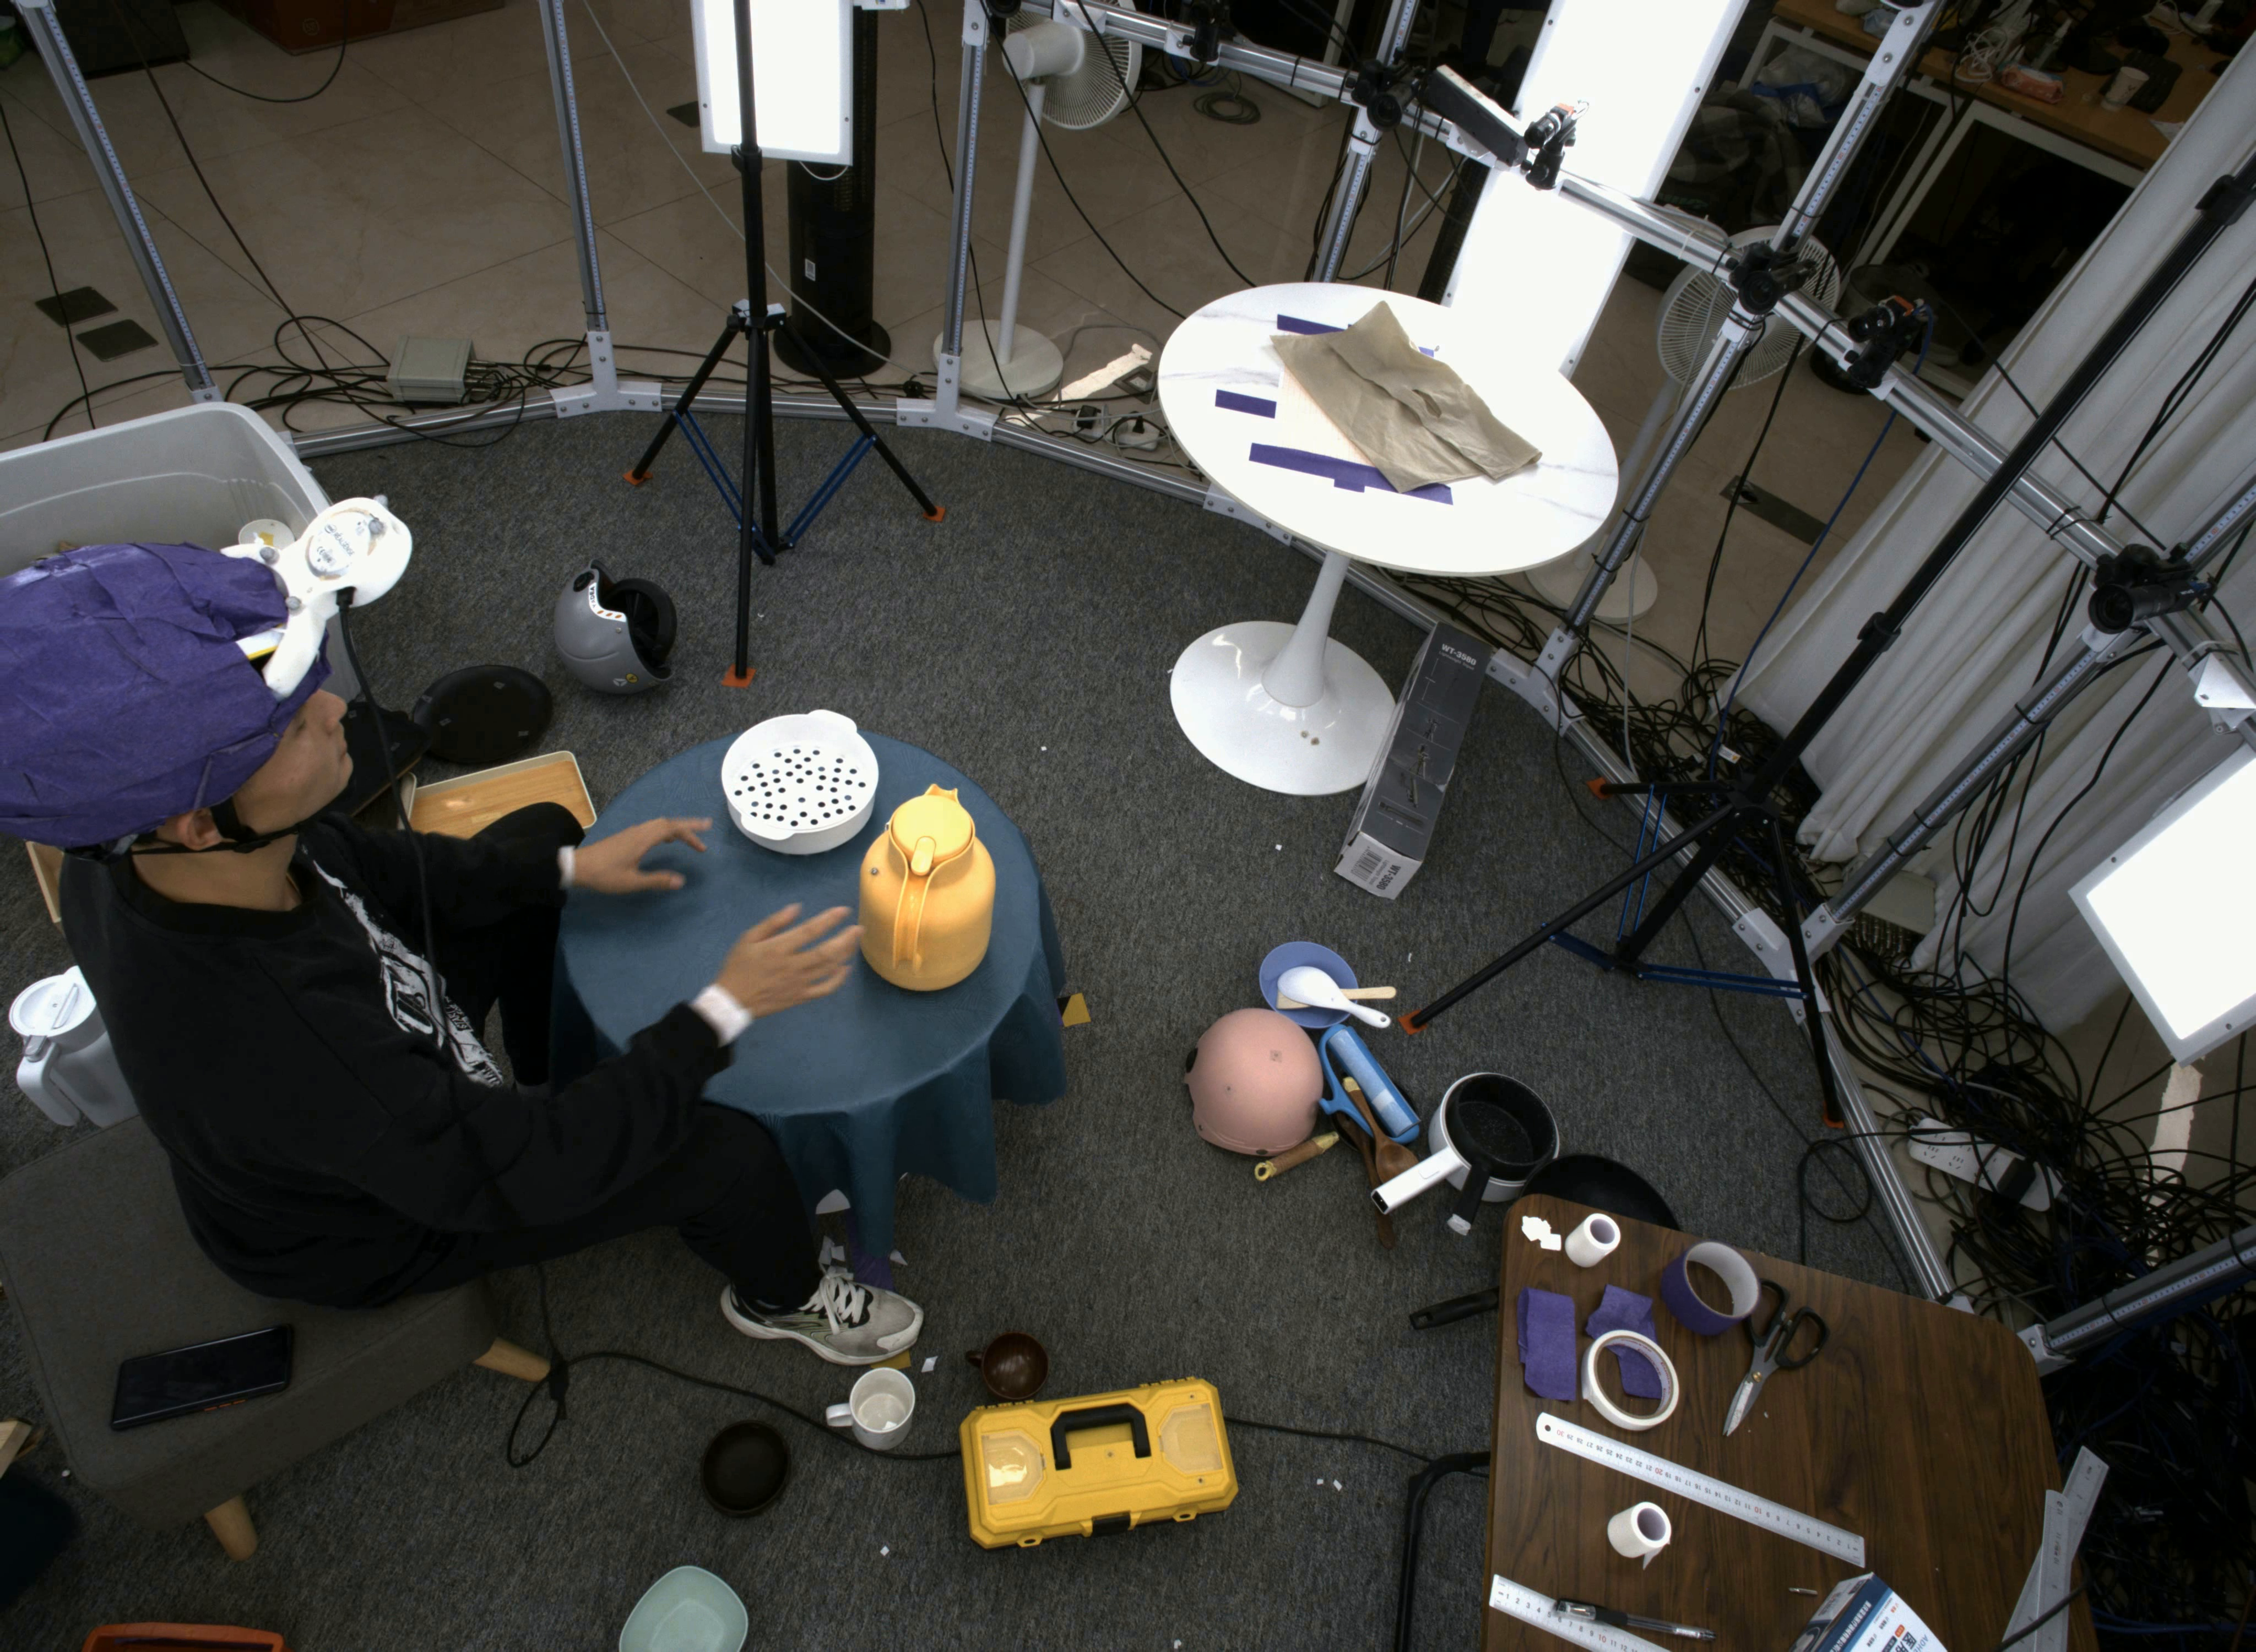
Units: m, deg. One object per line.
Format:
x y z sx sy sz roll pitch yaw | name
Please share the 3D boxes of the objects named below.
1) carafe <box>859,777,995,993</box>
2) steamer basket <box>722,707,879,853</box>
-0.243 0.083 1.536 0.162 0.267 0.199 12 49 1 | carafe
-0.434 -0.057 1.722 0.200 0.070 0.228 20 51 0 | steamer basket
